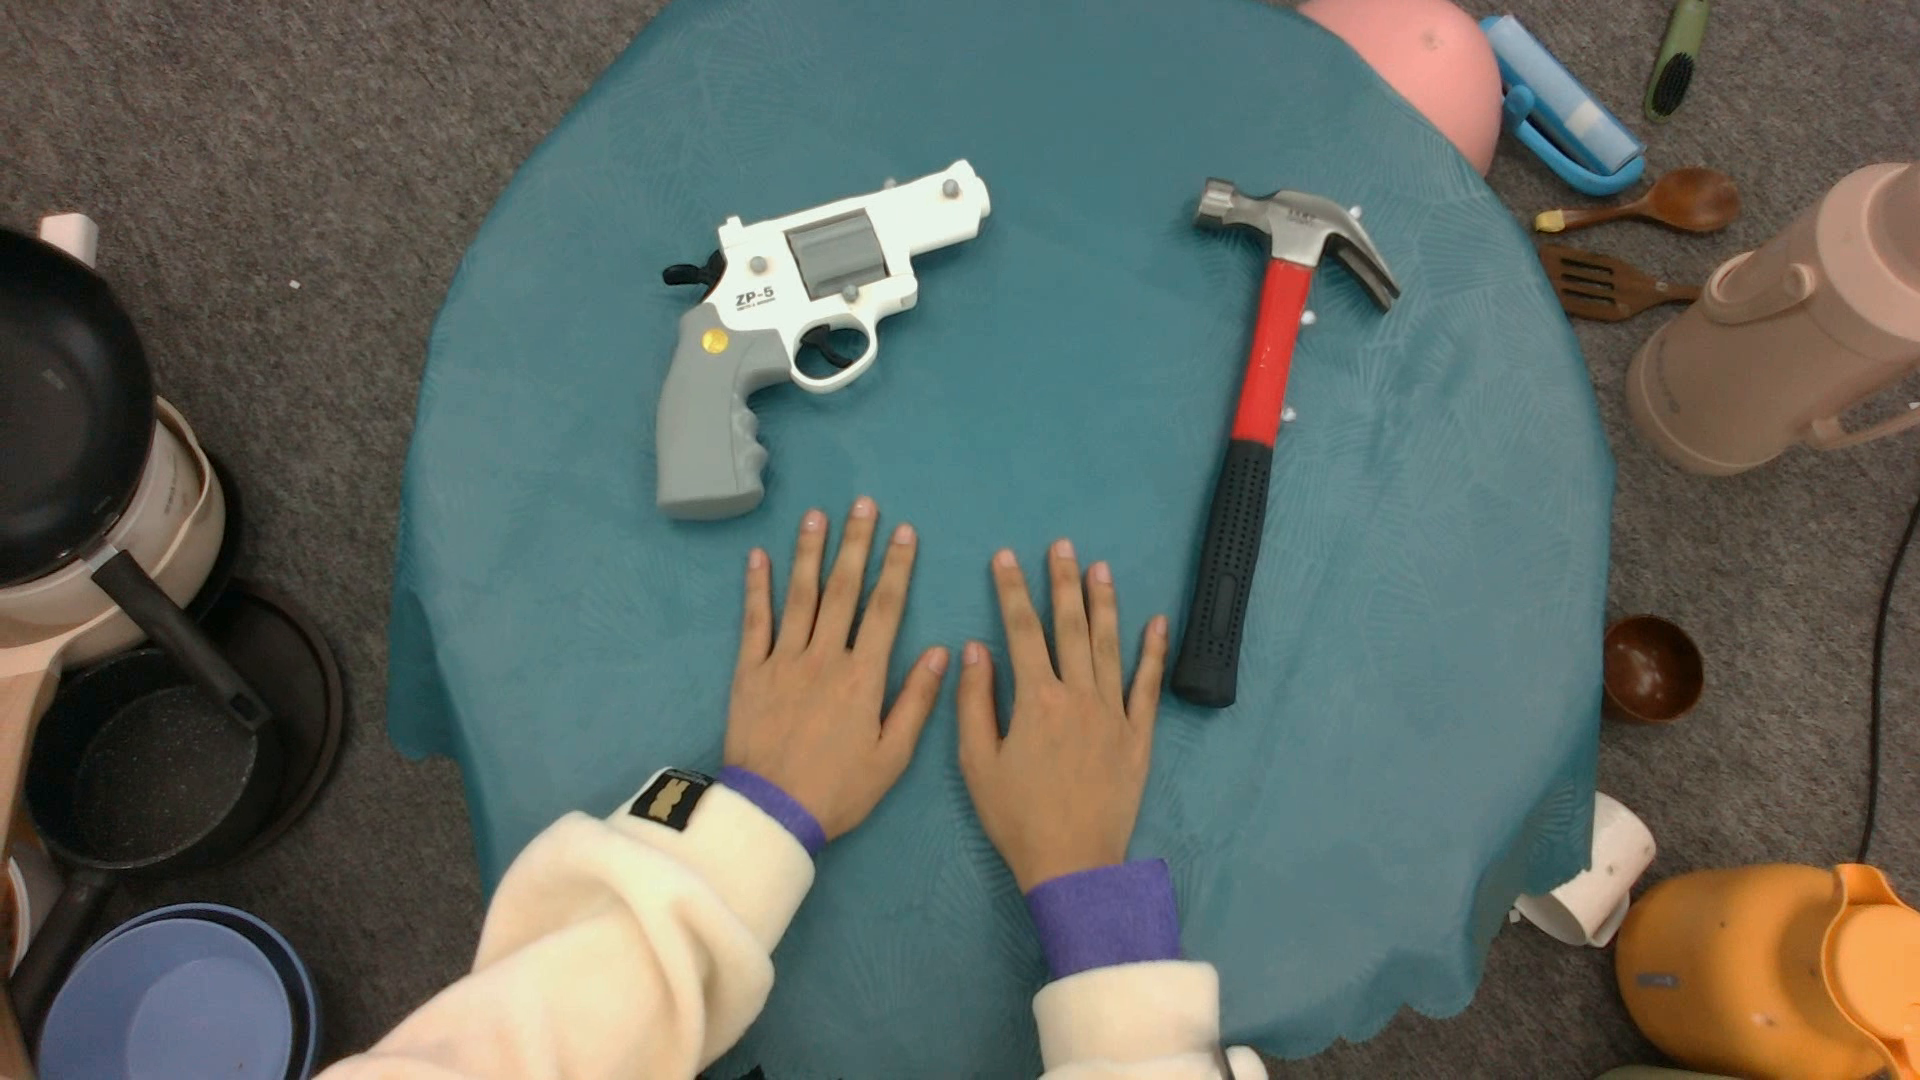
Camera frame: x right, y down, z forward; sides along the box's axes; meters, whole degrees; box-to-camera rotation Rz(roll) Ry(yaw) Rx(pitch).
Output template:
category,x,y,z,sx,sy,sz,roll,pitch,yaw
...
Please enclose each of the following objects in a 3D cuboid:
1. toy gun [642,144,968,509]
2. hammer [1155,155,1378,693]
category,x,y,z,sx,sy,sz,roll,pitch,yaw
toy gun,-0.075,-0.109,0.678,0.209,0.038,0.142,-22,73,-10
hammer,0.140,-0.059,0.687,0.111,0.026,0.278,17,72,-8
